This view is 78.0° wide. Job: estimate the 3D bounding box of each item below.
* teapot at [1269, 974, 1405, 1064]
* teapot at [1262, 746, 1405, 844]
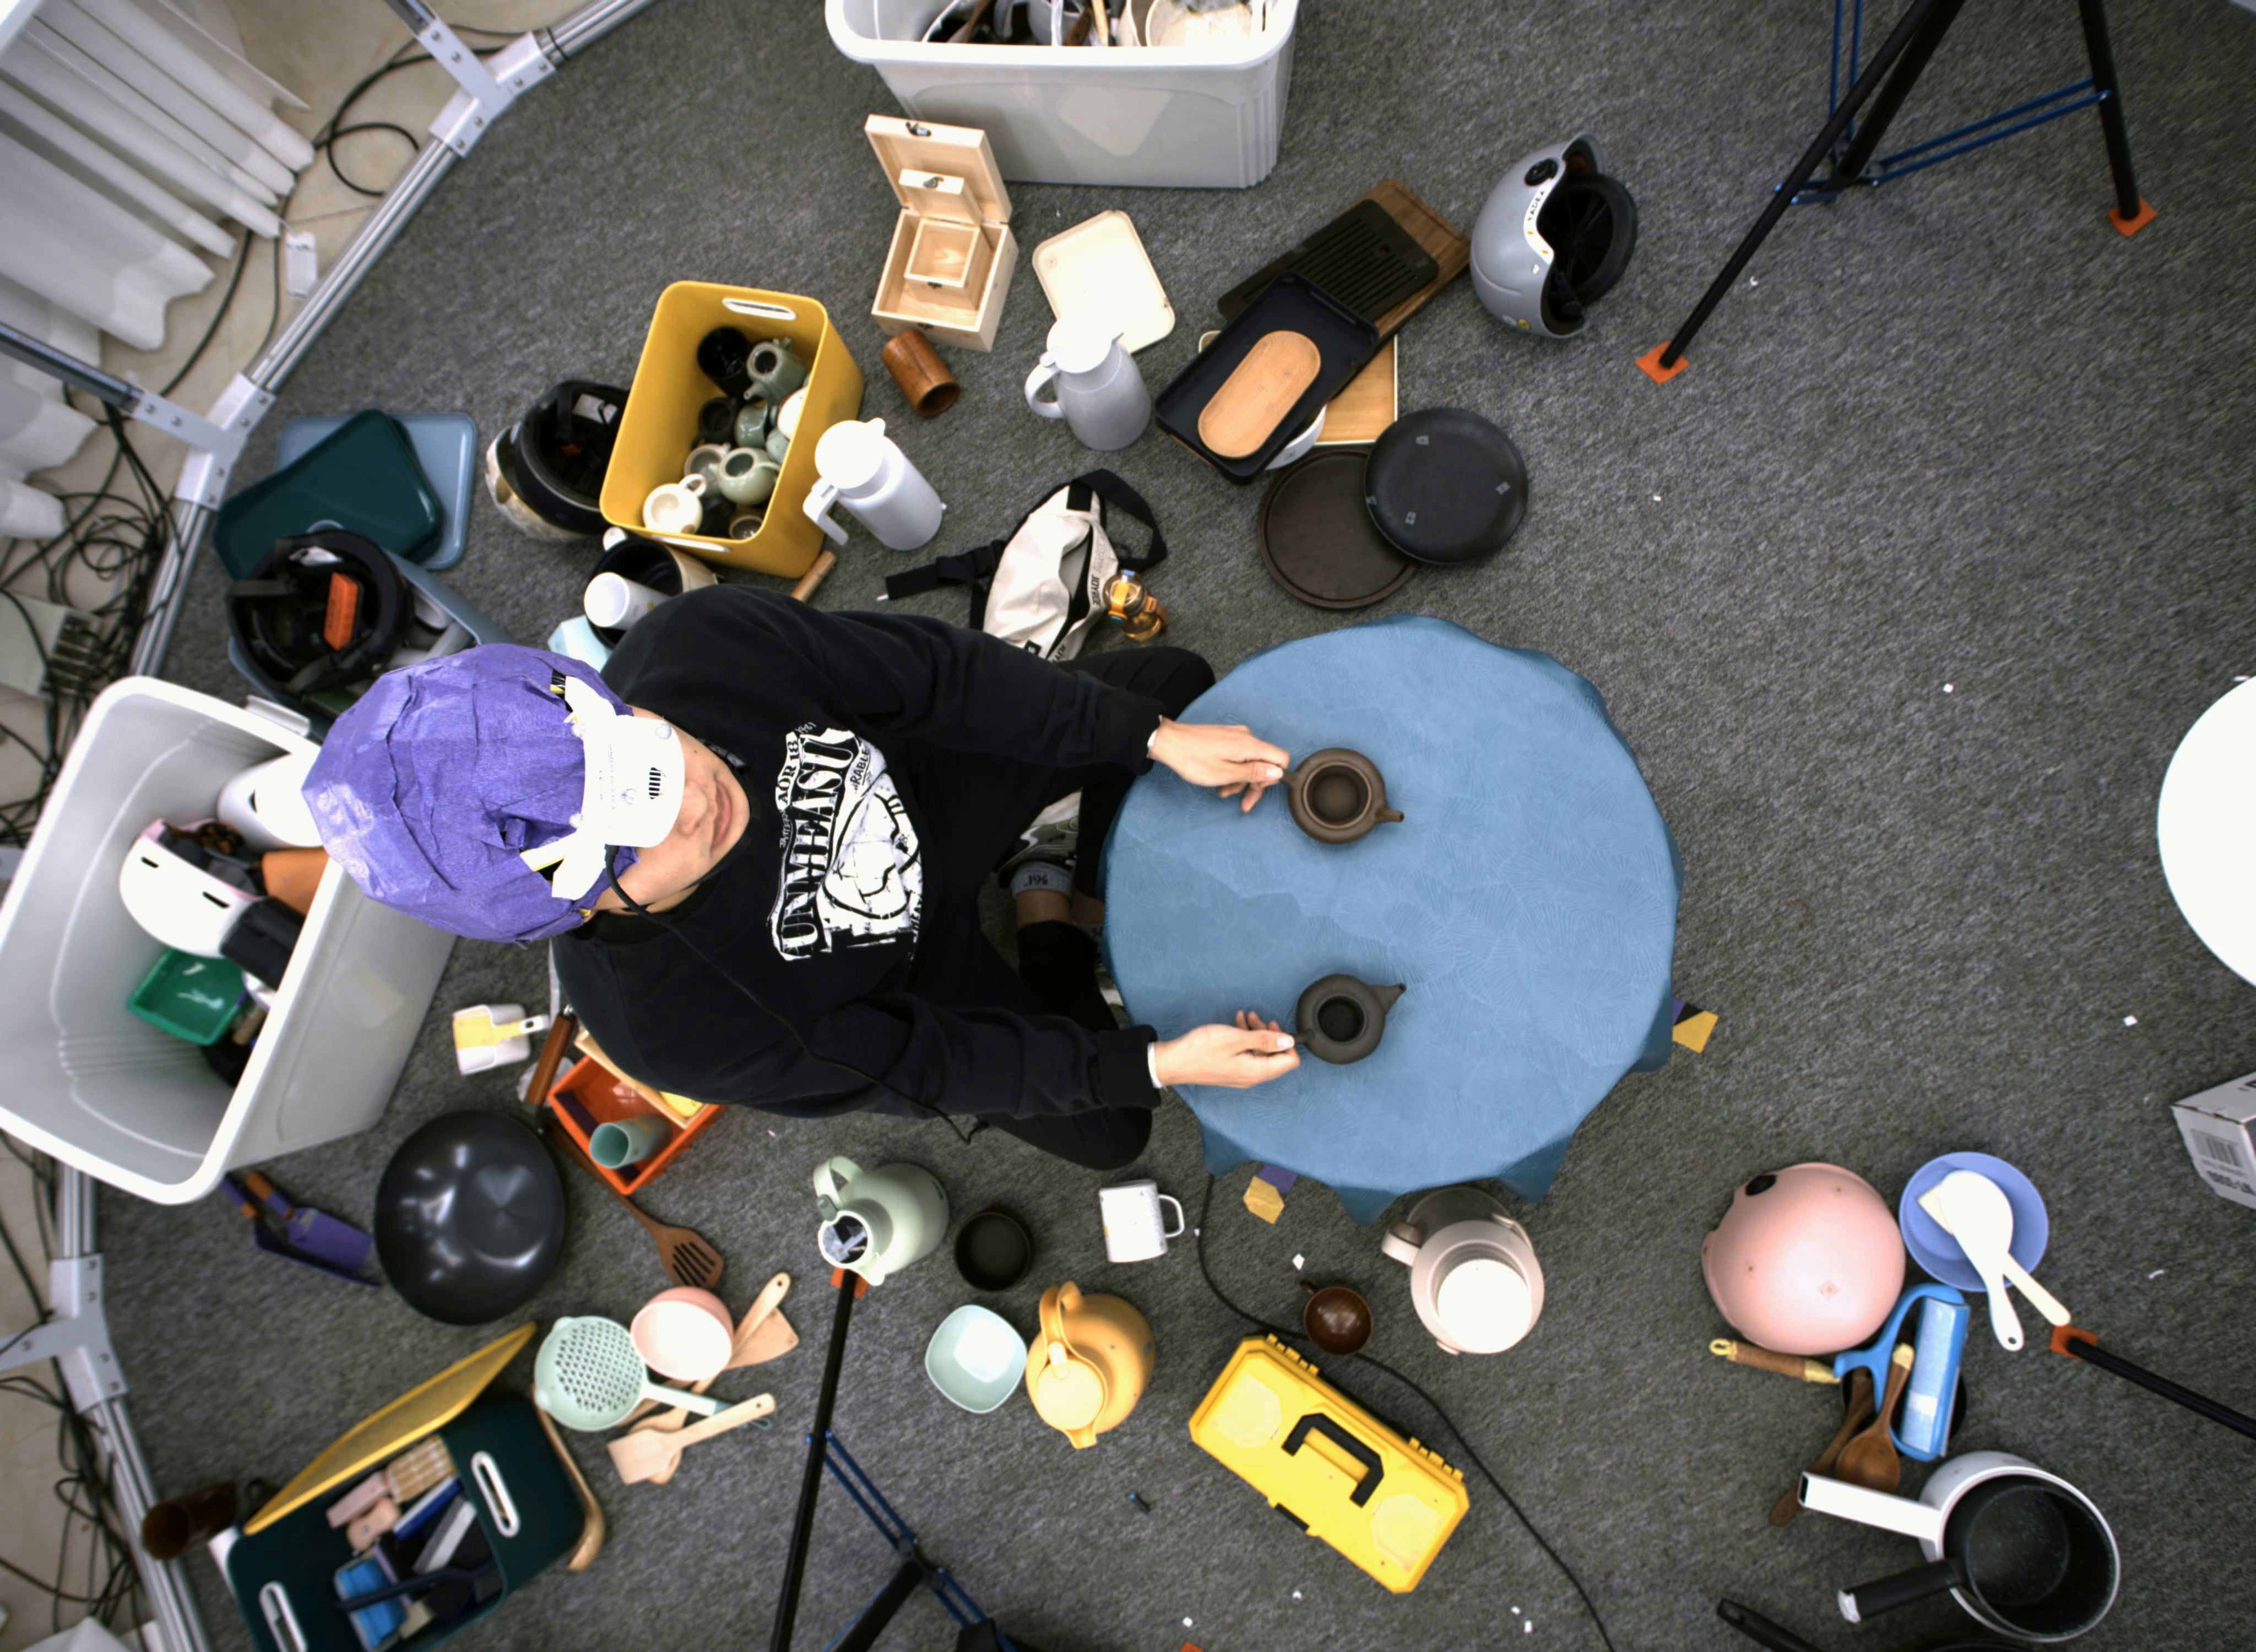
[{"bbox_3d":[0.216,0.200,1.431,0.154,0.065,0.091,-26,78,3],"label":"teapot"},{"bbox_3d":[0.214,-0.035,1.446,0.153,0.054,0.102,15,90,6],"label":"teapot"}]
